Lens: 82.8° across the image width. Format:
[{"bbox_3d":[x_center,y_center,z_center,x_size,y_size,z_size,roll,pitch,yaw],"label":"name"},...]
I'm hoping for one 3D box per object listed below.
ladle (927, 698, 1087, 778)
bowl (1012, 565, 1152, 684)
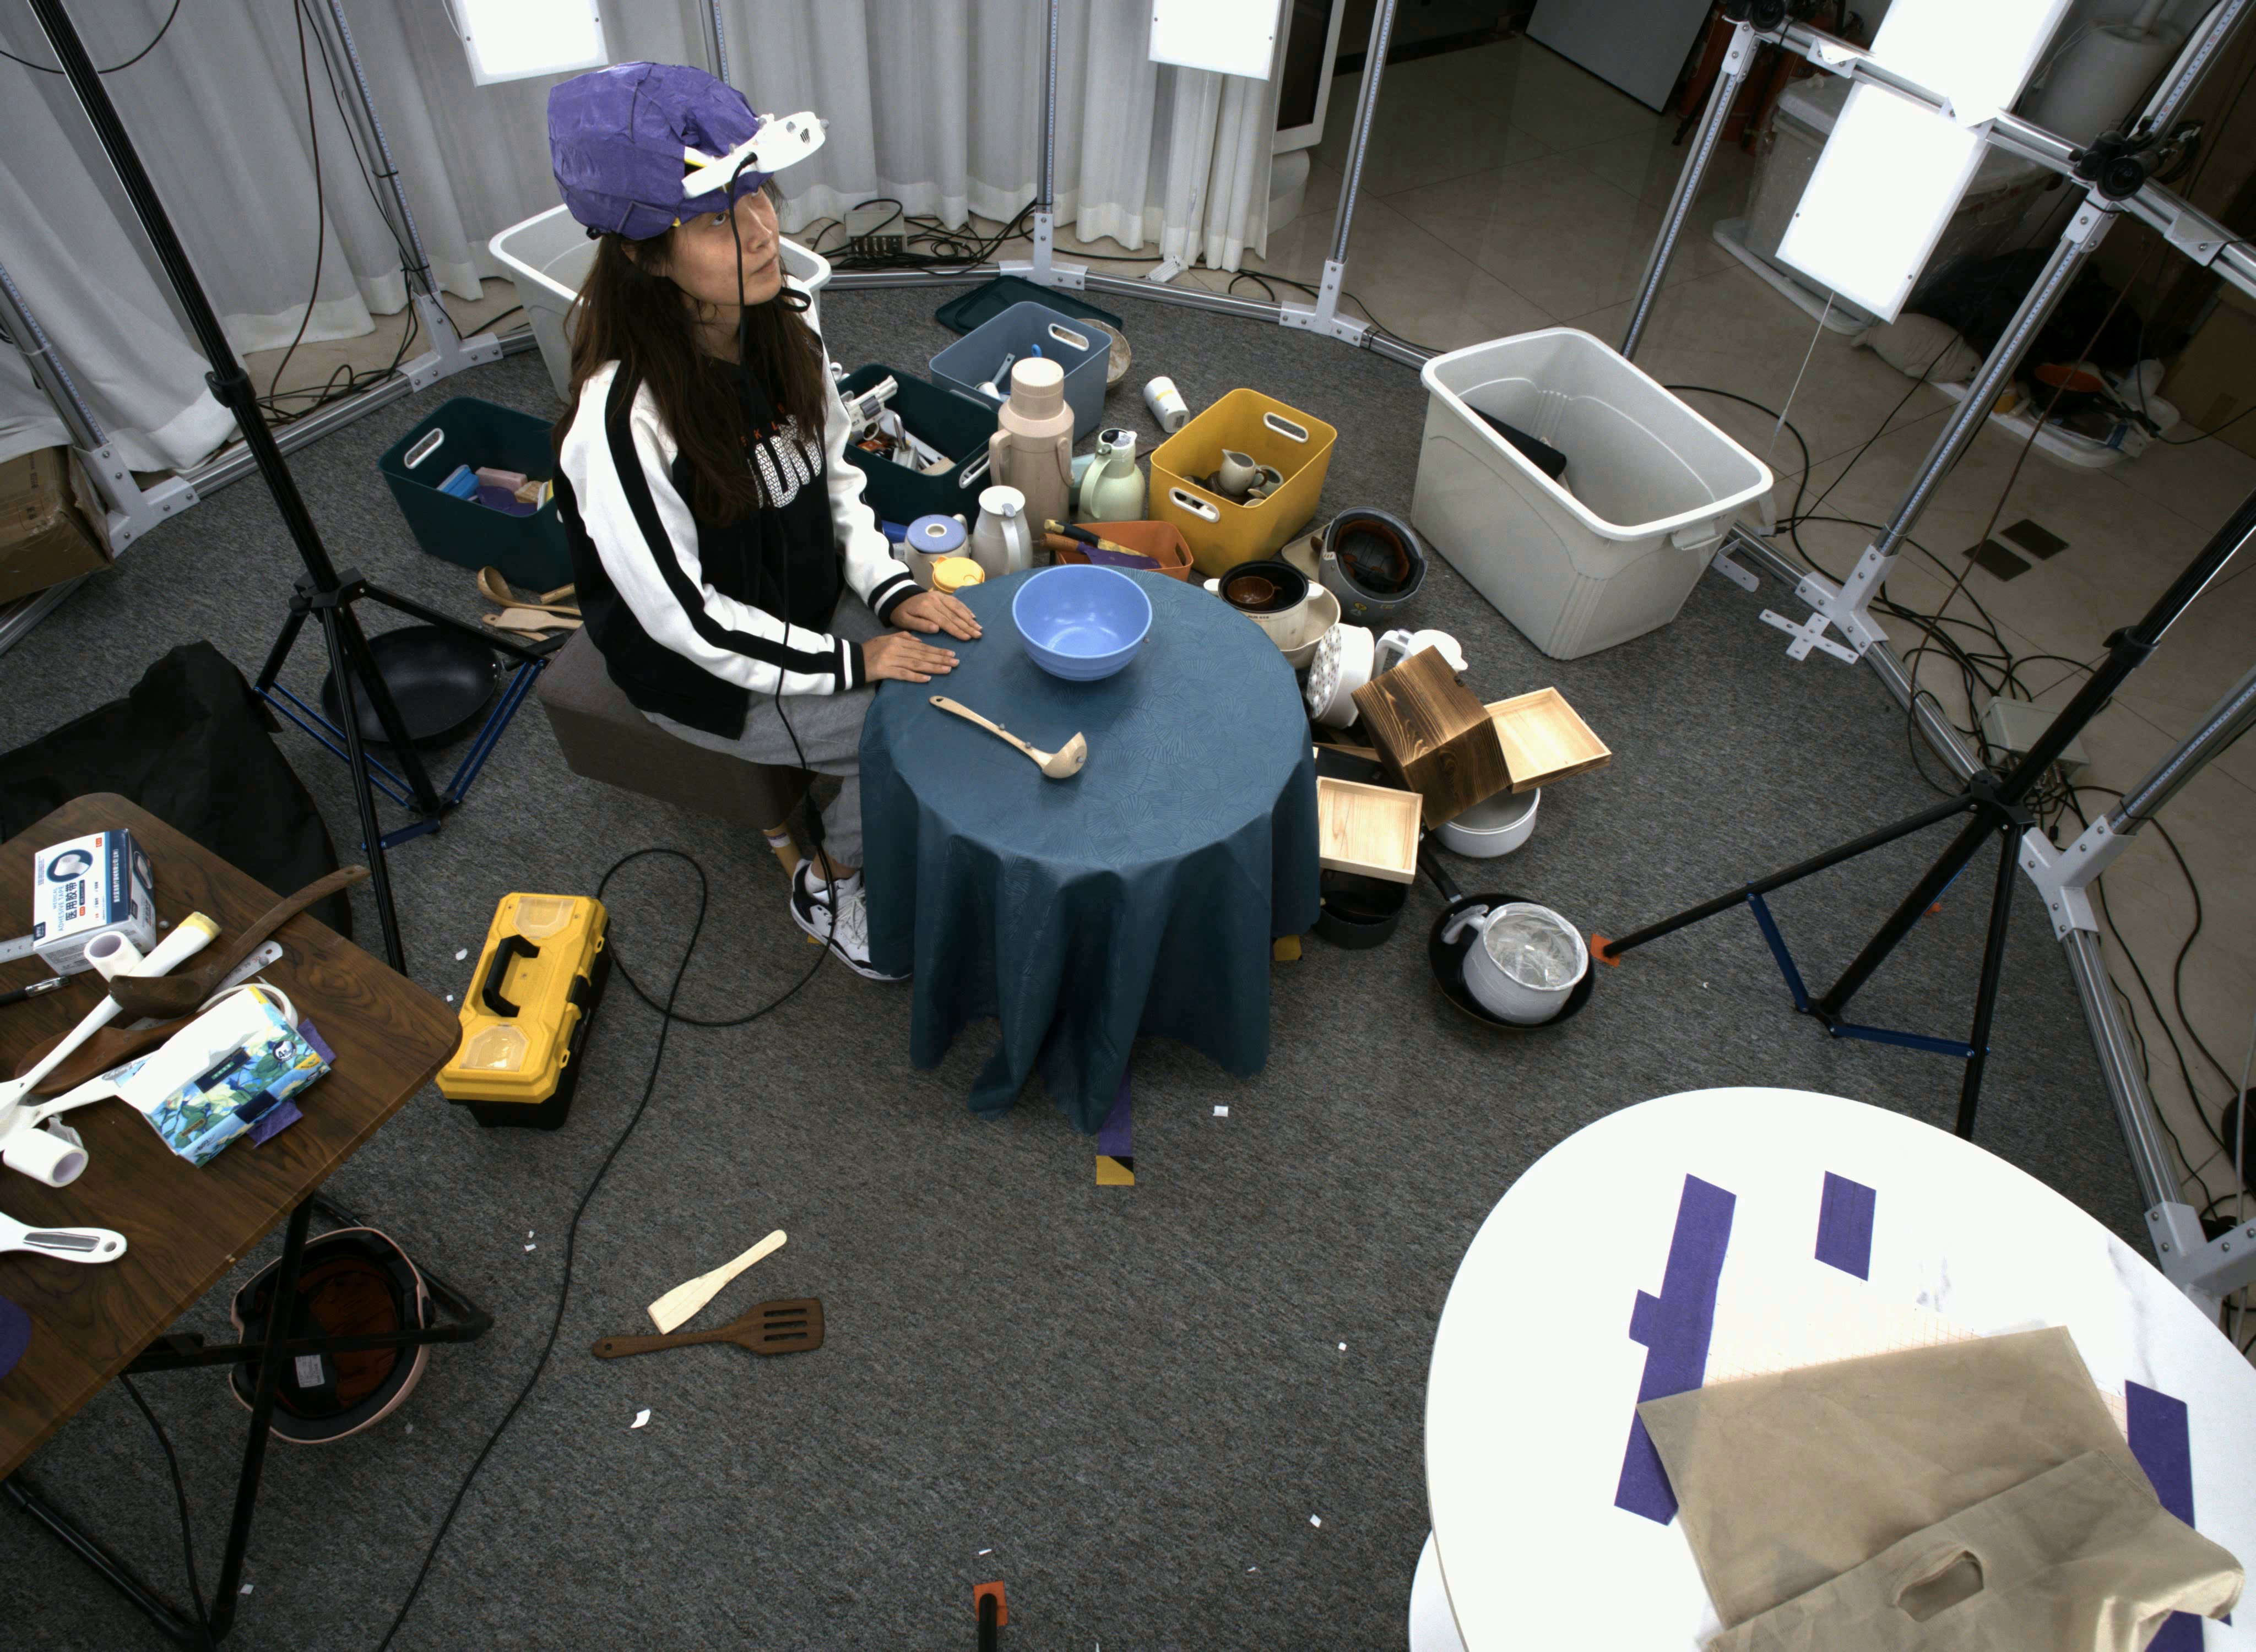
[{"bbox_3d":[-0.171,-0.142,1.734,0.257,0.071,0.073,28,52,19],"label":"ladle"},{"bbox_3d":[-0.066,-0.273,1.846,0.196,0.093,0.201,1,50,-2],"label":"bowl"}]
